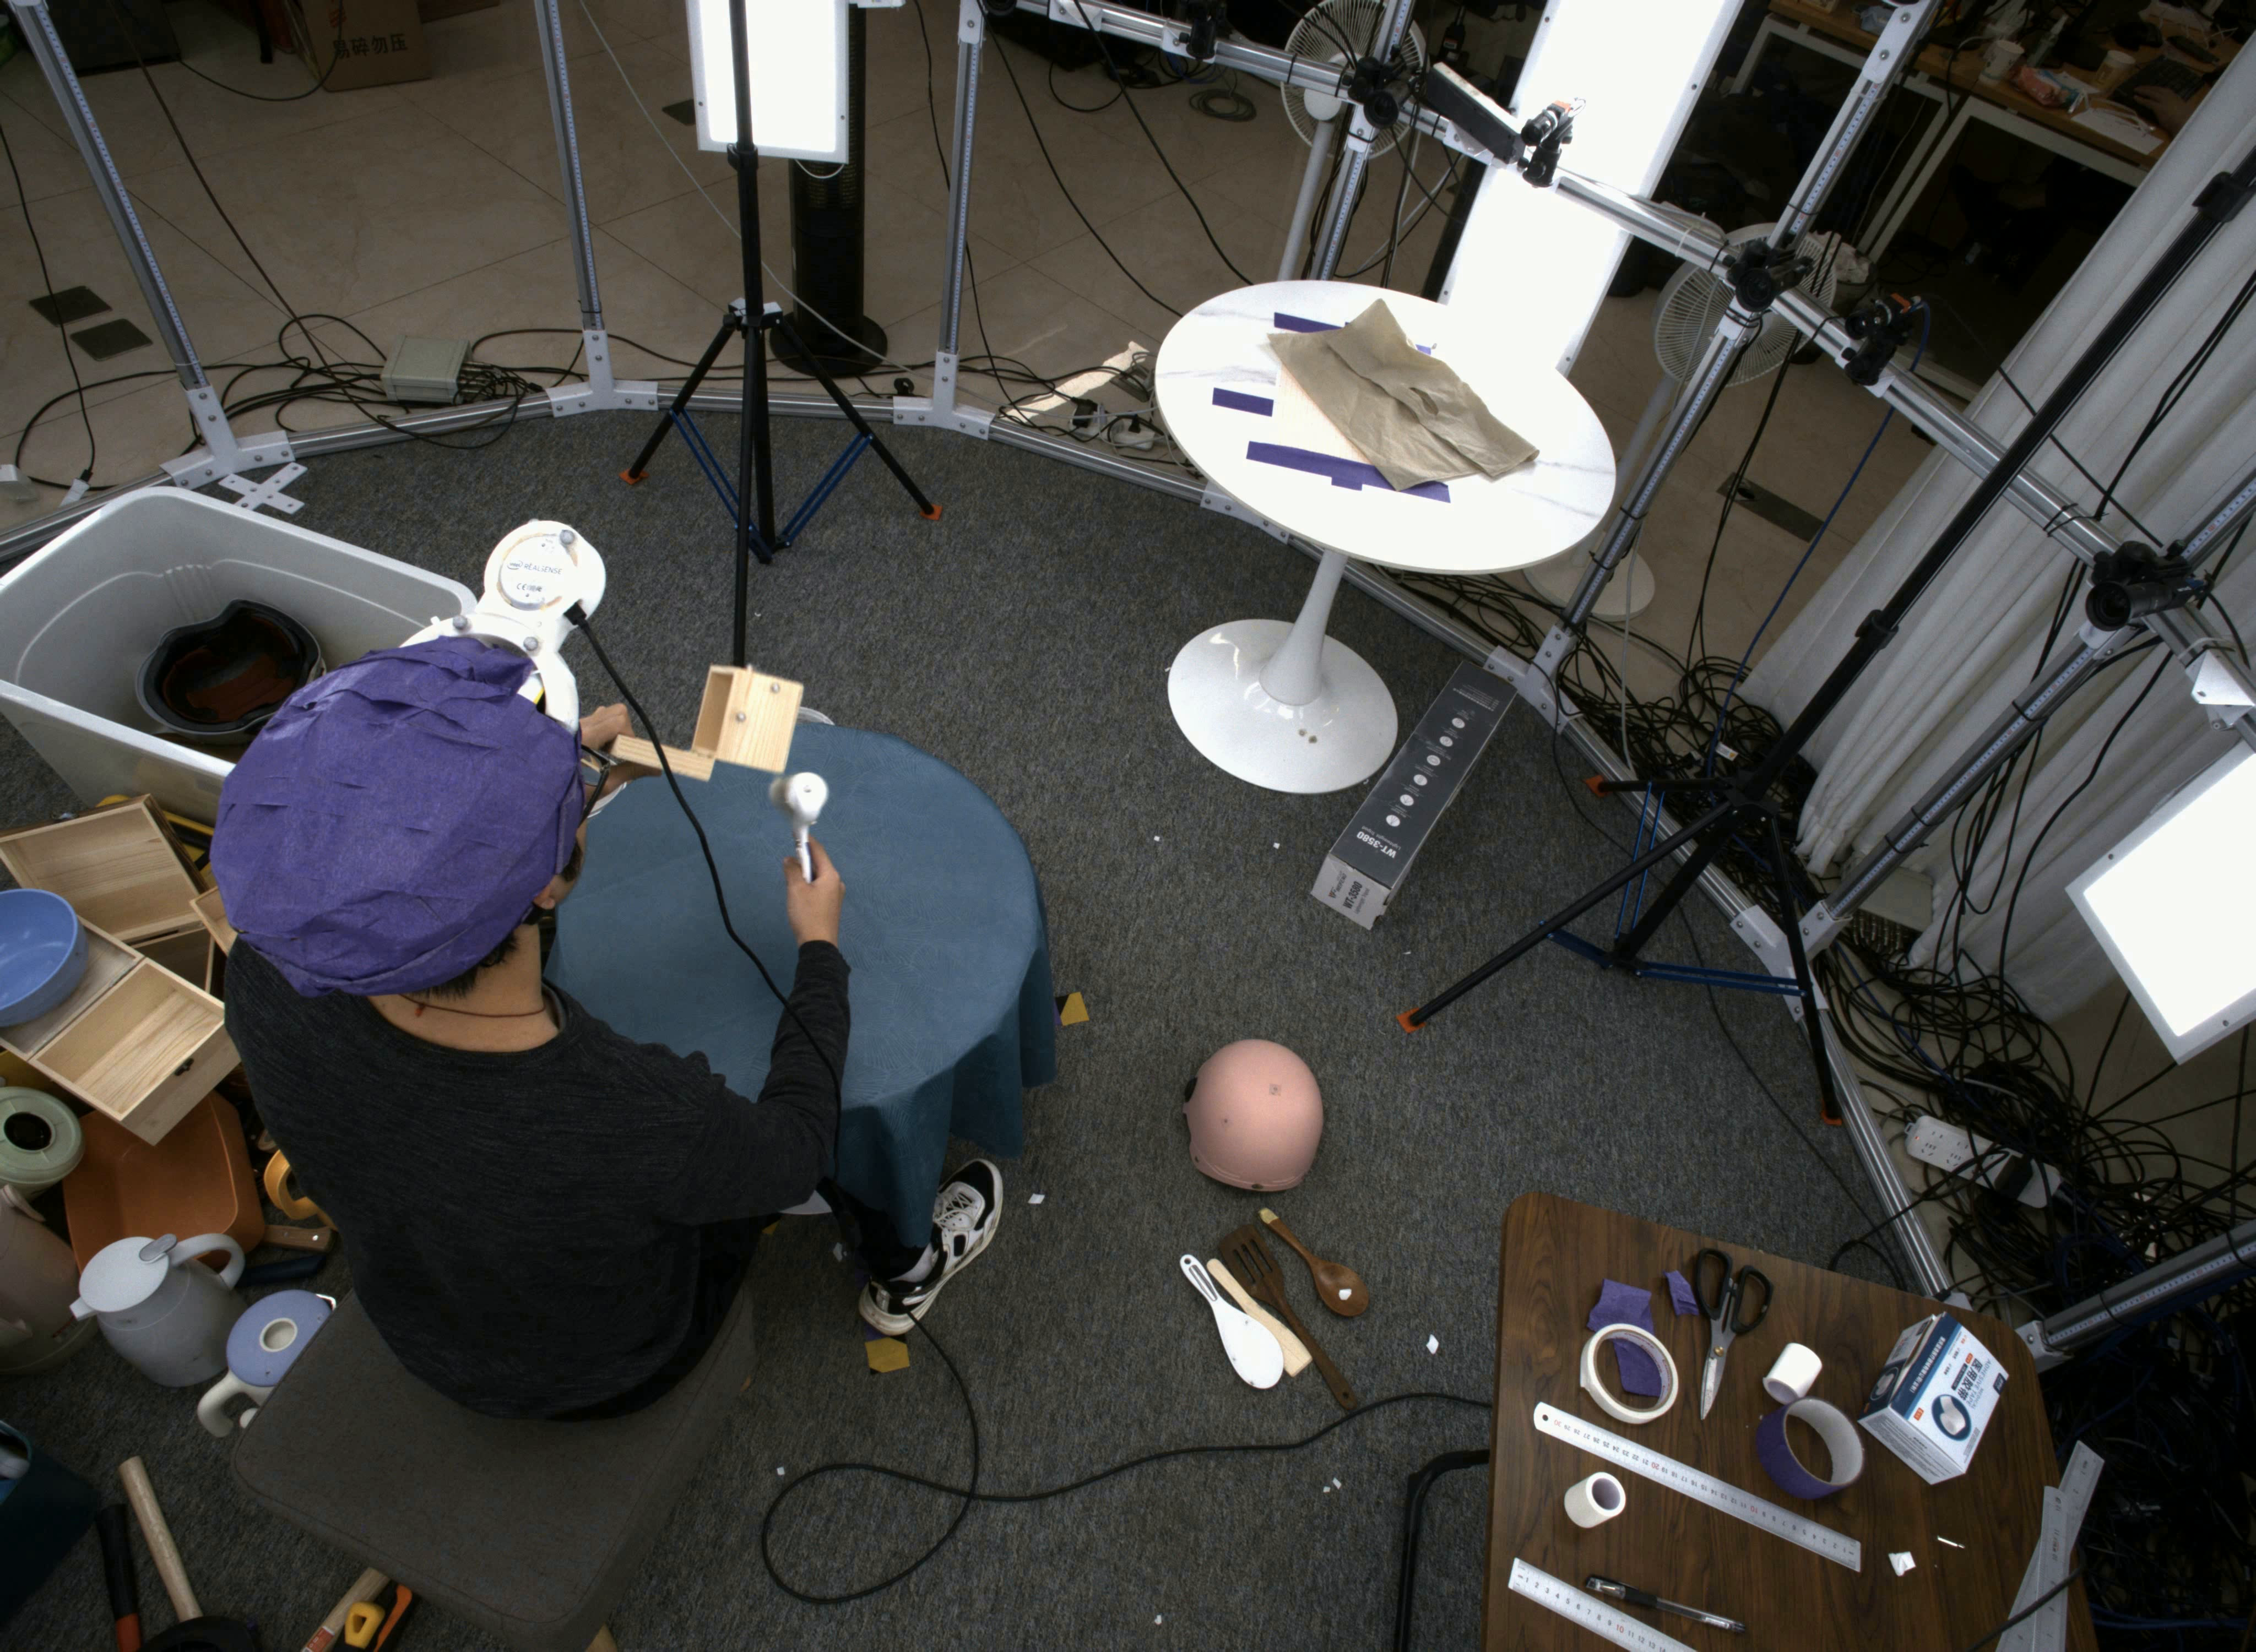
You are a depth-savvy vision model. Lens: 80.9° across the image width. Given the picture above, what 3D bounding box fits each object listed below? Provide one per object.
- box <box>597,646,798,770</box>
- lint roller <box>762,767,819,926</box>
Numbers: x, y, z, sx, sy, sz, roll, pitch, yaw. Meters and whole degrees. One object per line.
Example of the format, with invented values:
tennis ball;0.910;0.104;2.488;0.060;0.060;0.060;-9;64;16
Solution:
box;-0.469;-0.132;1.386;0.188;0.099;0.135;11;91;-35
lint roller;-0.370;0.020;1.485;0.050;0.129;0.184;-19;100;-25
